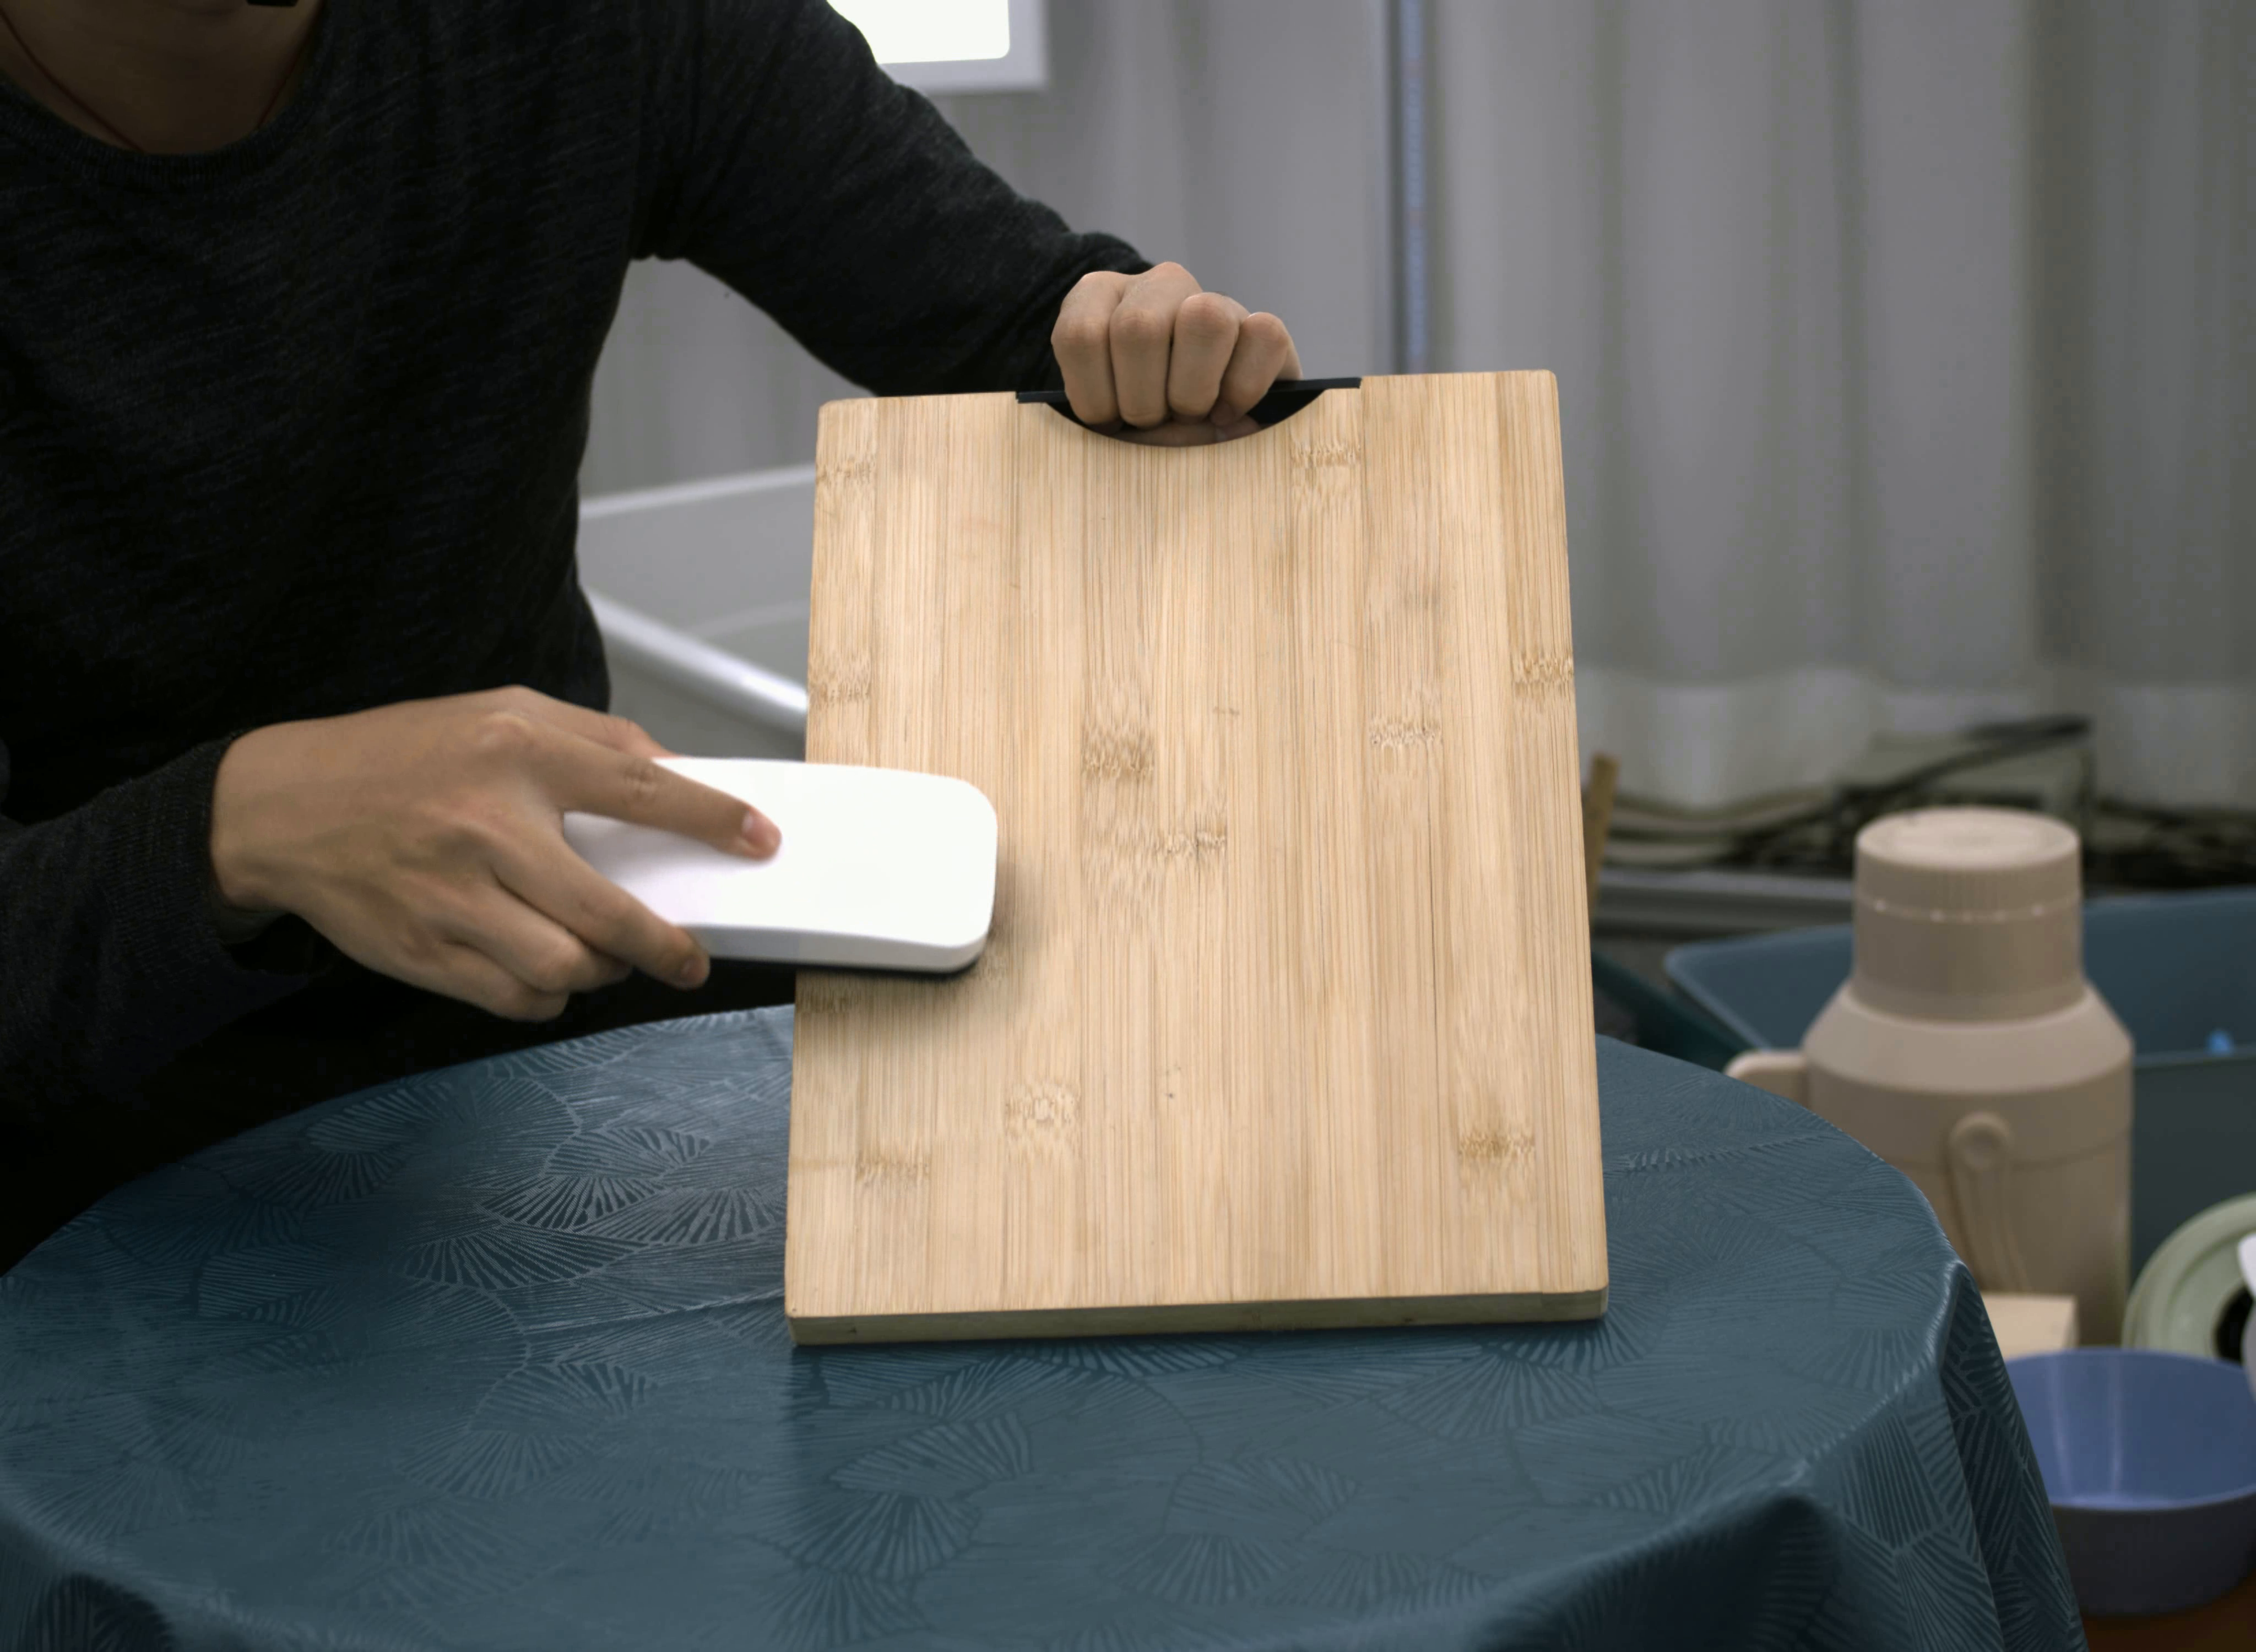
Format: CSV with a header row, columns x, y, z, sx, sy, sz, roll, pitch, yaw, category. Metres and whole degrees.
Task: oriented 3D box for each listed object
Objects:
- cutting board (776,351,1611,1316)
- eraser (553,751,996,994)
x,y,z,sx,sy,sz,roll,pitch,yaw,category
0.021,-0.002,1.684,0.250,0.023,0.354,-3,55,3,cutting board
-0.106,0.014,1.644,0.131,0.034,0.064,5,54,-2,eraser
